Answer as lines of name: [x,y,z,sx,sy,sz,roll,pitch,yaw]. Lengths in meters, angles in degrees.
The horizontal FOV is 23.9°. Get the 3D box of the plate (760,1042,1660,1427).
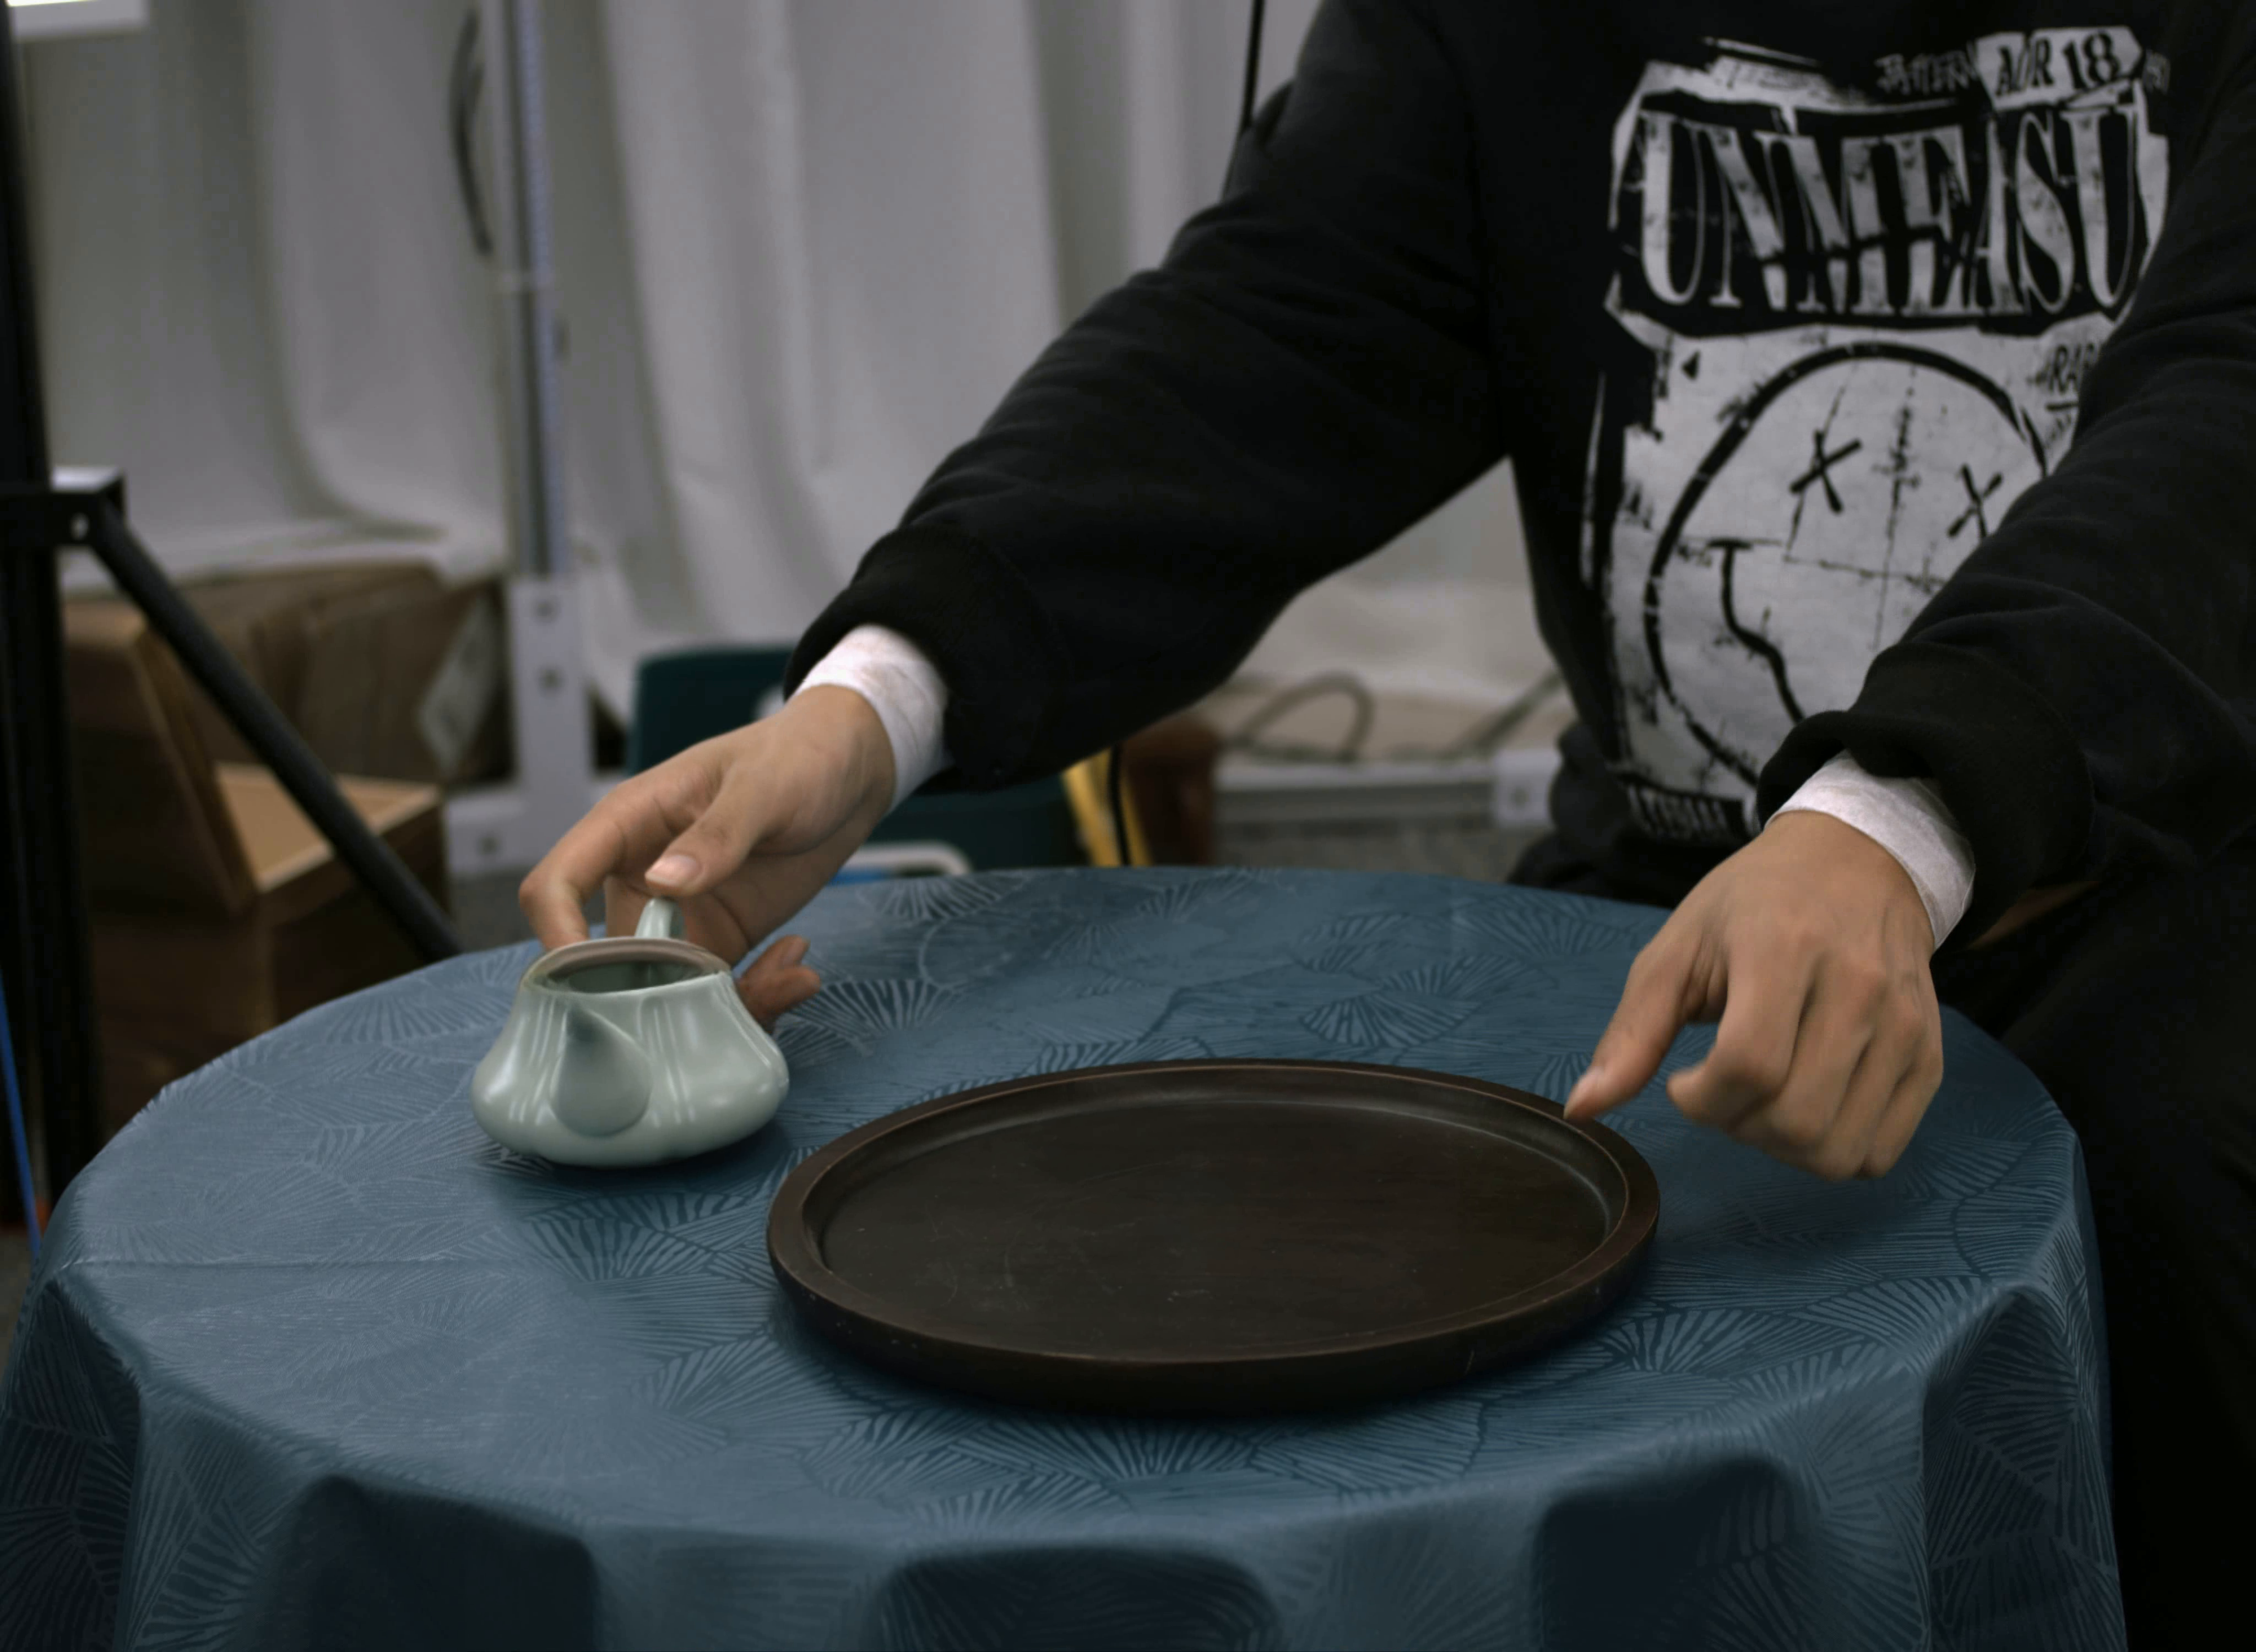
plate: [0.023,0.114,1.486,0.253,0.029,0.256,-4,16,0]

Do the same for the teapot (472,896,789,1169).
teapot: [-0.151,0.066,1.619,0.096,0.061,0.137,-2,16,6]
